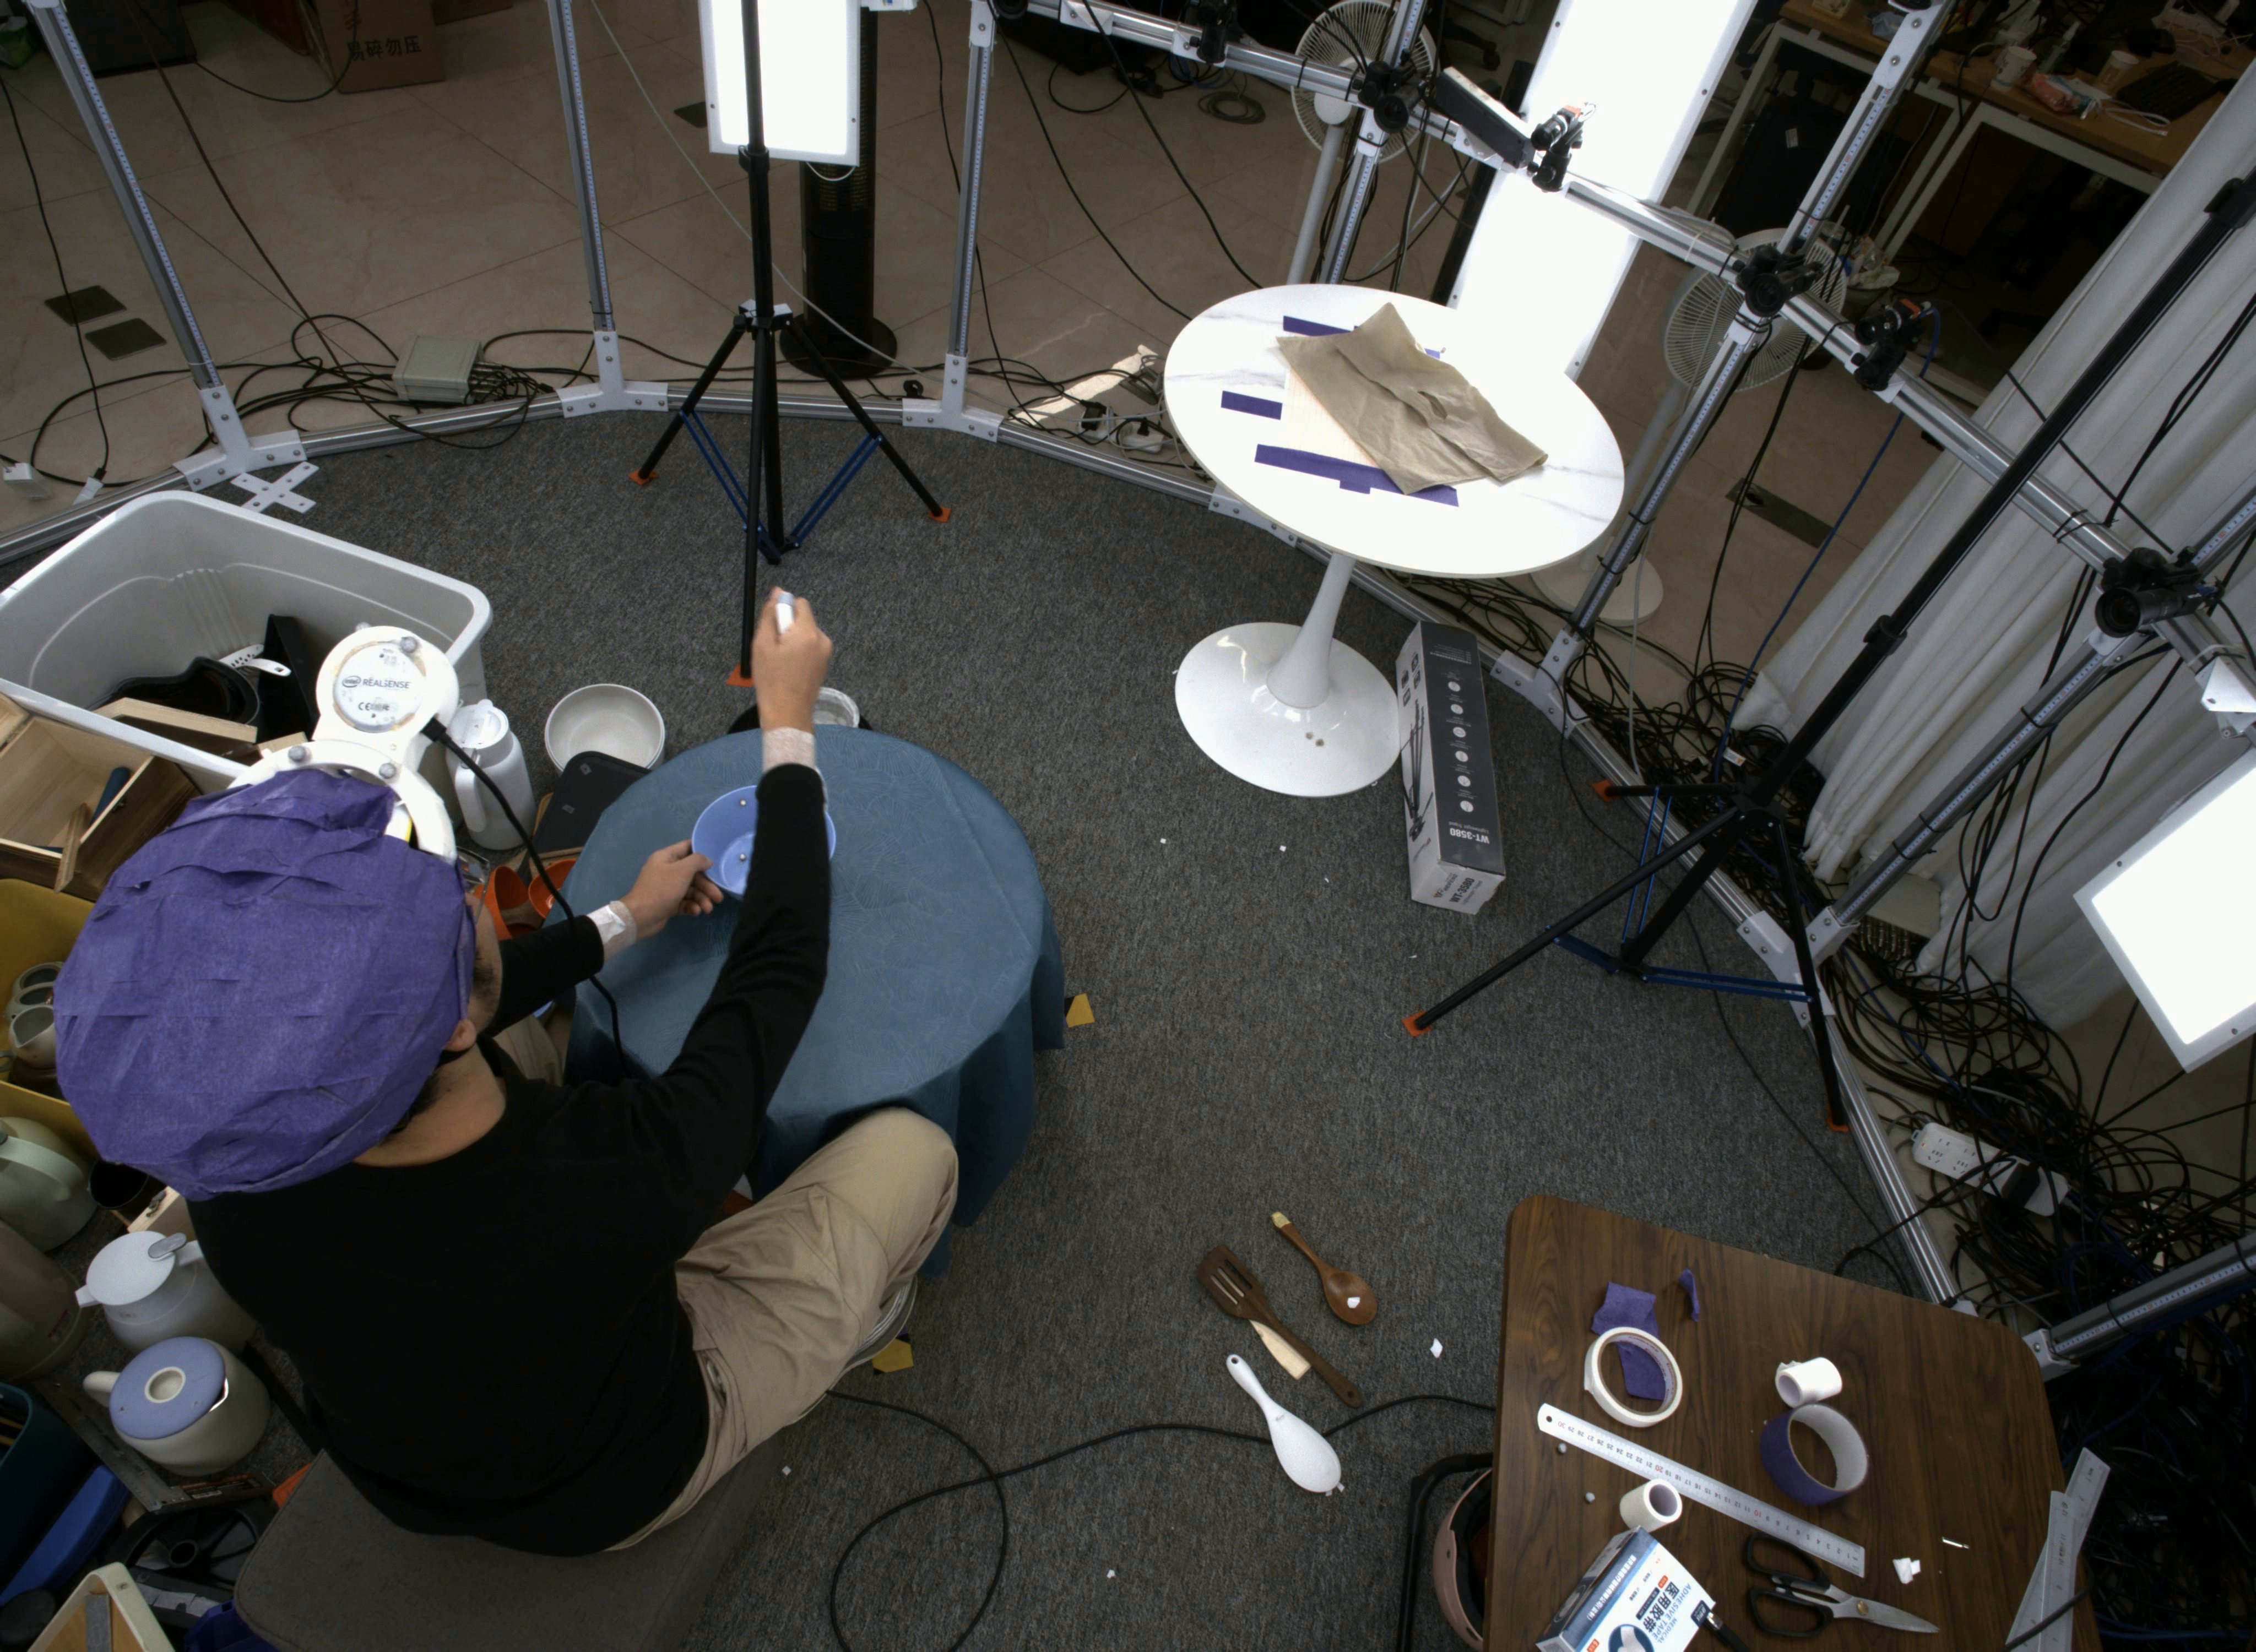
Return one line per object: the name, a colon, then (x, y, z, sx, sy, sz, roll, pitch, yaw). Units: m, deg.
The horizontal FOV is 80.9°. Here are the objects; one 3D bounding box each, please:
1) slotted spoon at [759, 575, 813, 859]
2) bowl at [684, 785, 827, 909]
slotted spoon: (-0.379, -0.113, 1.403, 0.045, 0.360, 0.132, -3, 44, -6)
bowl: (-0.468, 0.036, 1.635, 0.176, 0.071, 0.173, 8, 53, -9)
